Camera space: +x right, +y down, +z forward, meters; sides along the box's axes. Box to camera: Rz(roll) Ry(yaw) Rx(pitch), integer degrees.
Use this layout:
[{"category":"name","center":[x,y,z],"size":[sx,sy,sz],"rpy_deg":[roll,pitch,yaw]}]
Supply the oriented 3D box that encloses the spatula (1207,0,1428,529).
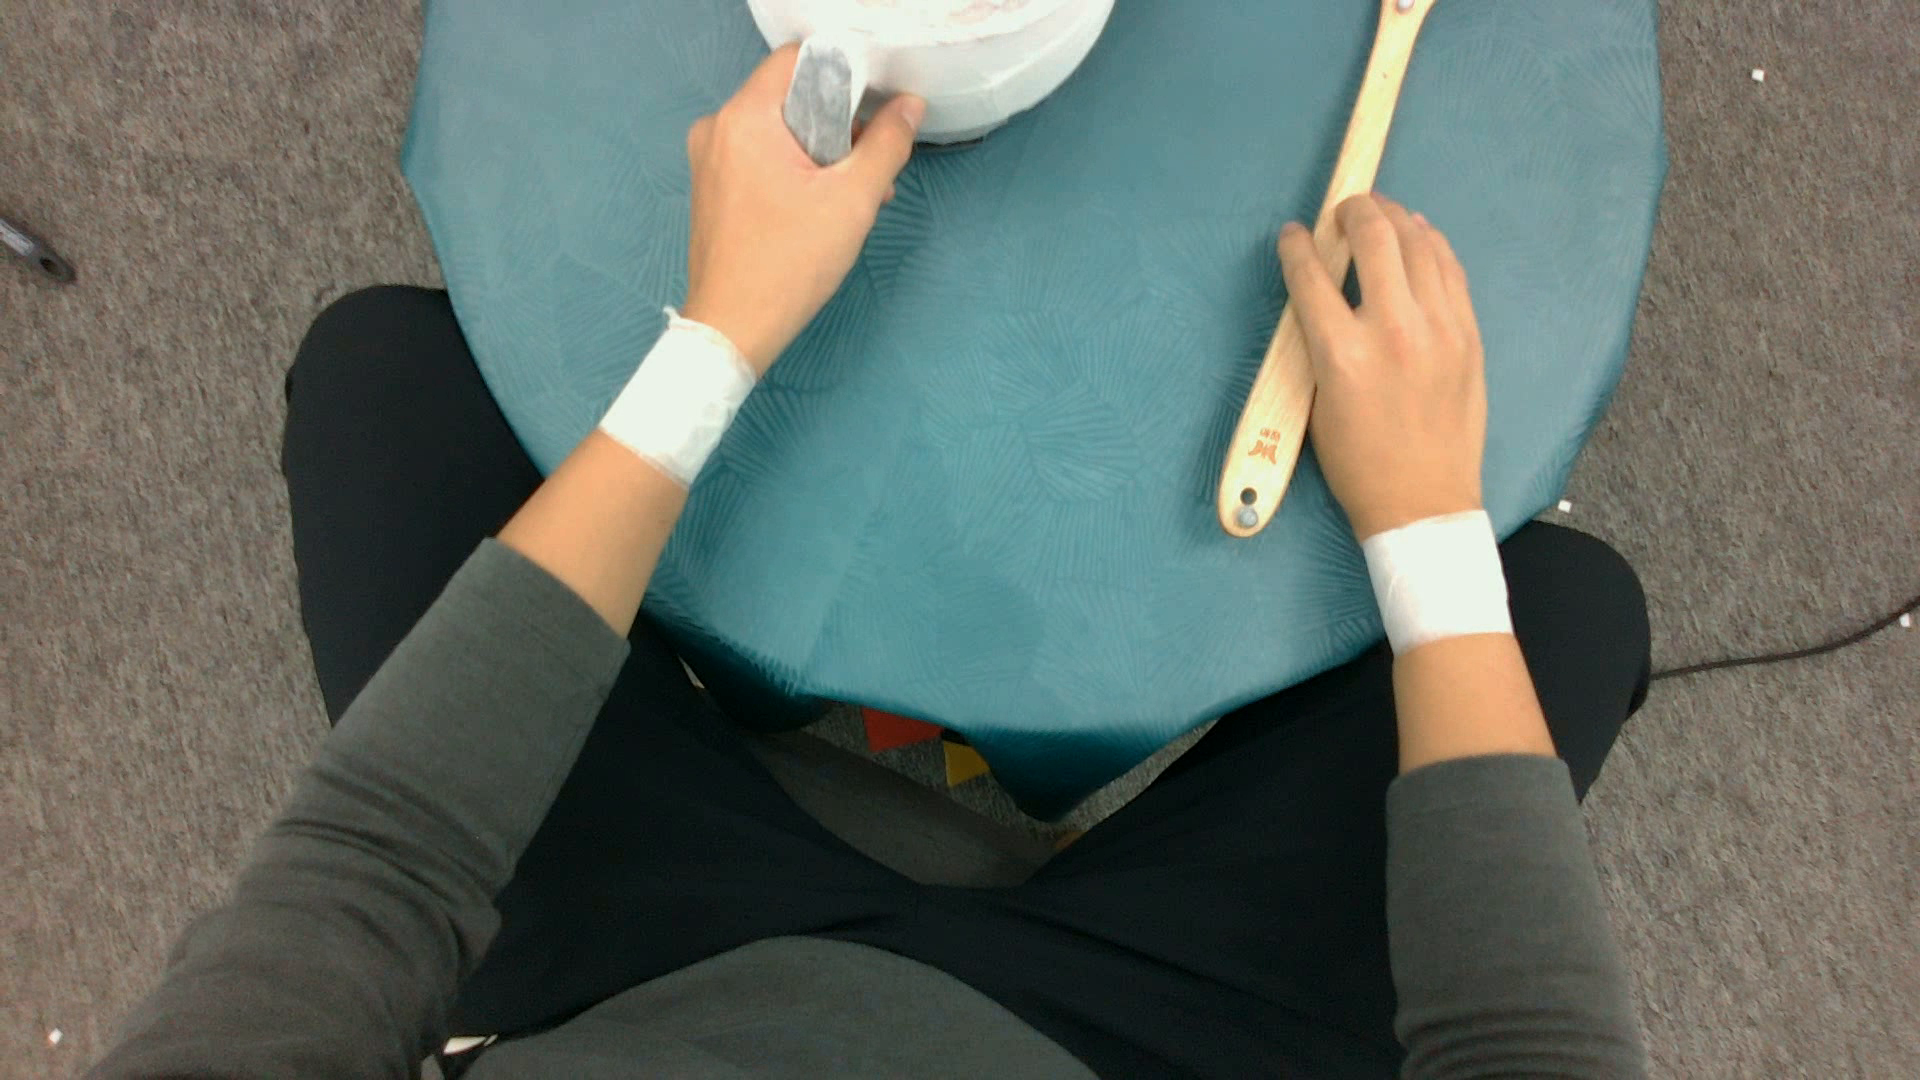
[{"category":"spatula","center":[0.189,-0.188,0.654],"size":[0.096,0.018,0.391],"rpy_deg":[19,82,1]}]

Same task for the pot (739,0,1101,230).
[{"category":"pot","center":[-0.028,-0.253,0.598],"size":[0.179,0.136,0.234],"rpy_deg":[22,87,-1]}]
